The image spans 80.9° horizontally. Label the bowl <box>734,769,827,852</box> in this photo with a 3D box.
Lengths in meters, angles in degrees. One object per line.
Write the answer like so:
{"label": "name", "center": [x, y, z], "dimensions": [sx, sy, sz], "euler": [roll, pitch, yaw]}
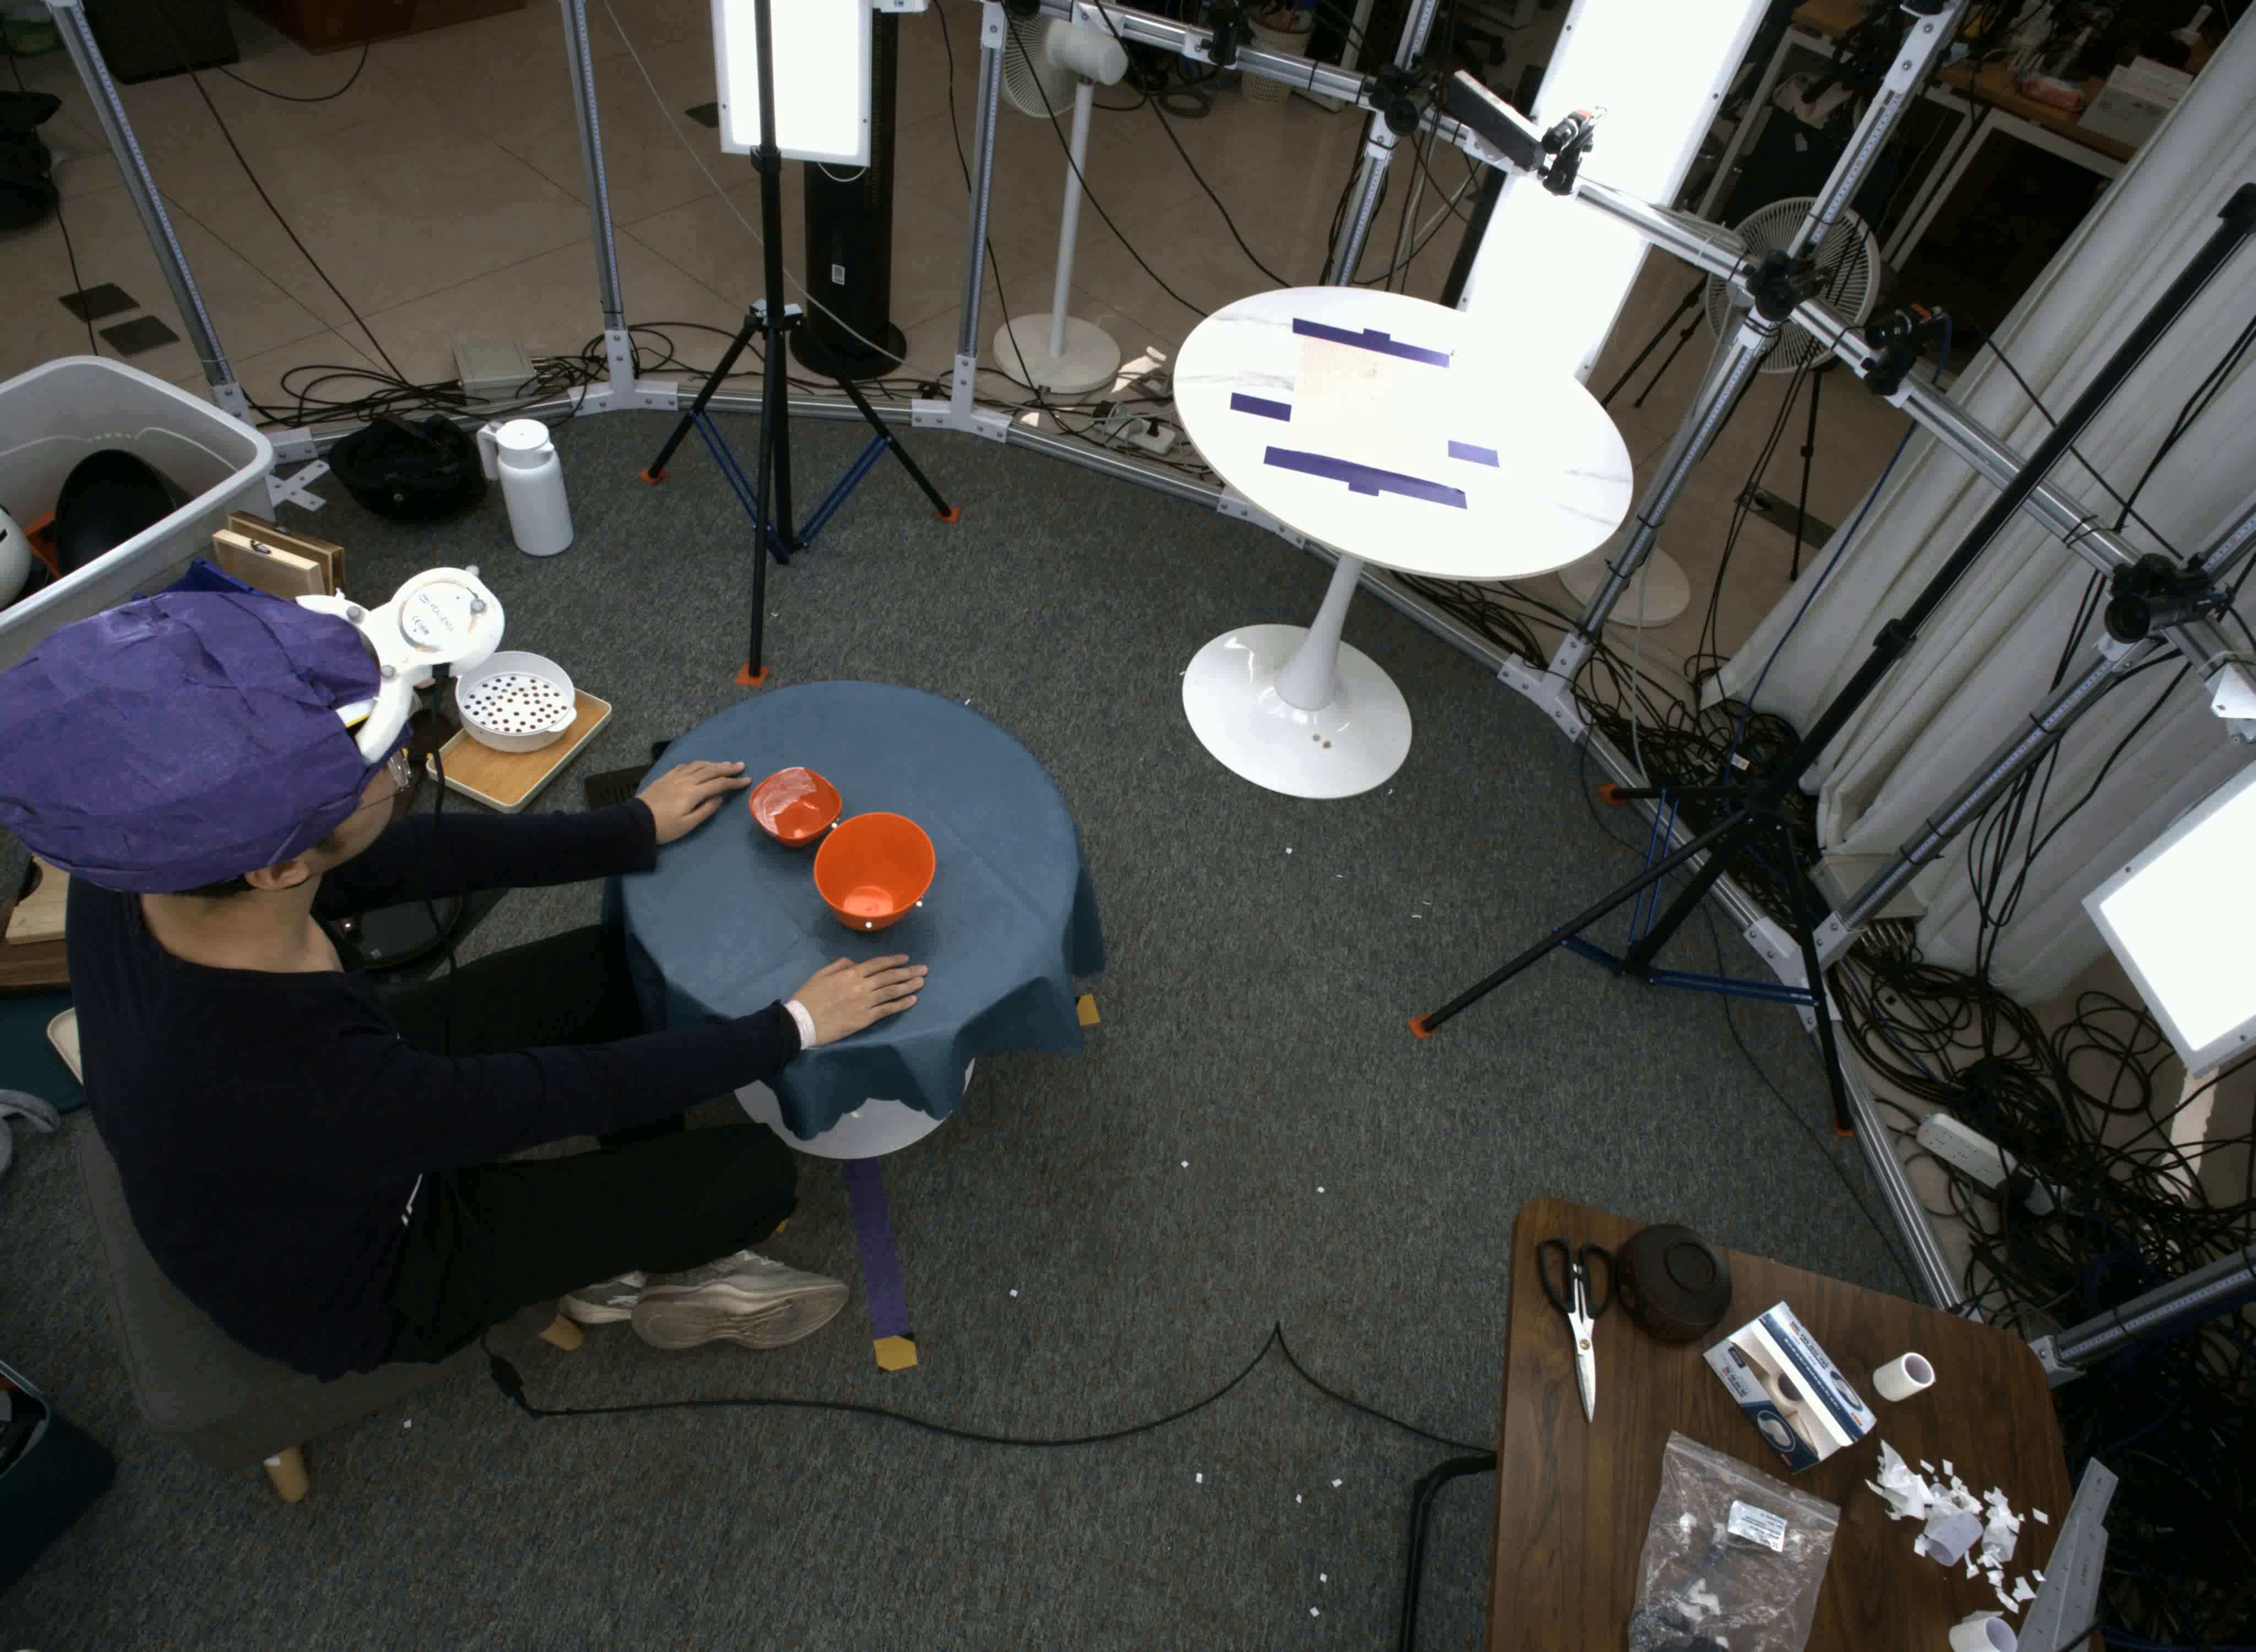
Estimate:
{"label": "bowl", "center": [-0.456, -0.013, 1.705], "dimensions": [0.119, 0.052, 0.117], "euler": [8, 54, -9]}

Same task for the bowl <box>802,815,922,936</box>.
{"label": "bowl", "center": [-0.335, 0.074, 1.638], "dimensions": [0.148, 0.107, 0.145], "euler": [7, 52, -8]}
